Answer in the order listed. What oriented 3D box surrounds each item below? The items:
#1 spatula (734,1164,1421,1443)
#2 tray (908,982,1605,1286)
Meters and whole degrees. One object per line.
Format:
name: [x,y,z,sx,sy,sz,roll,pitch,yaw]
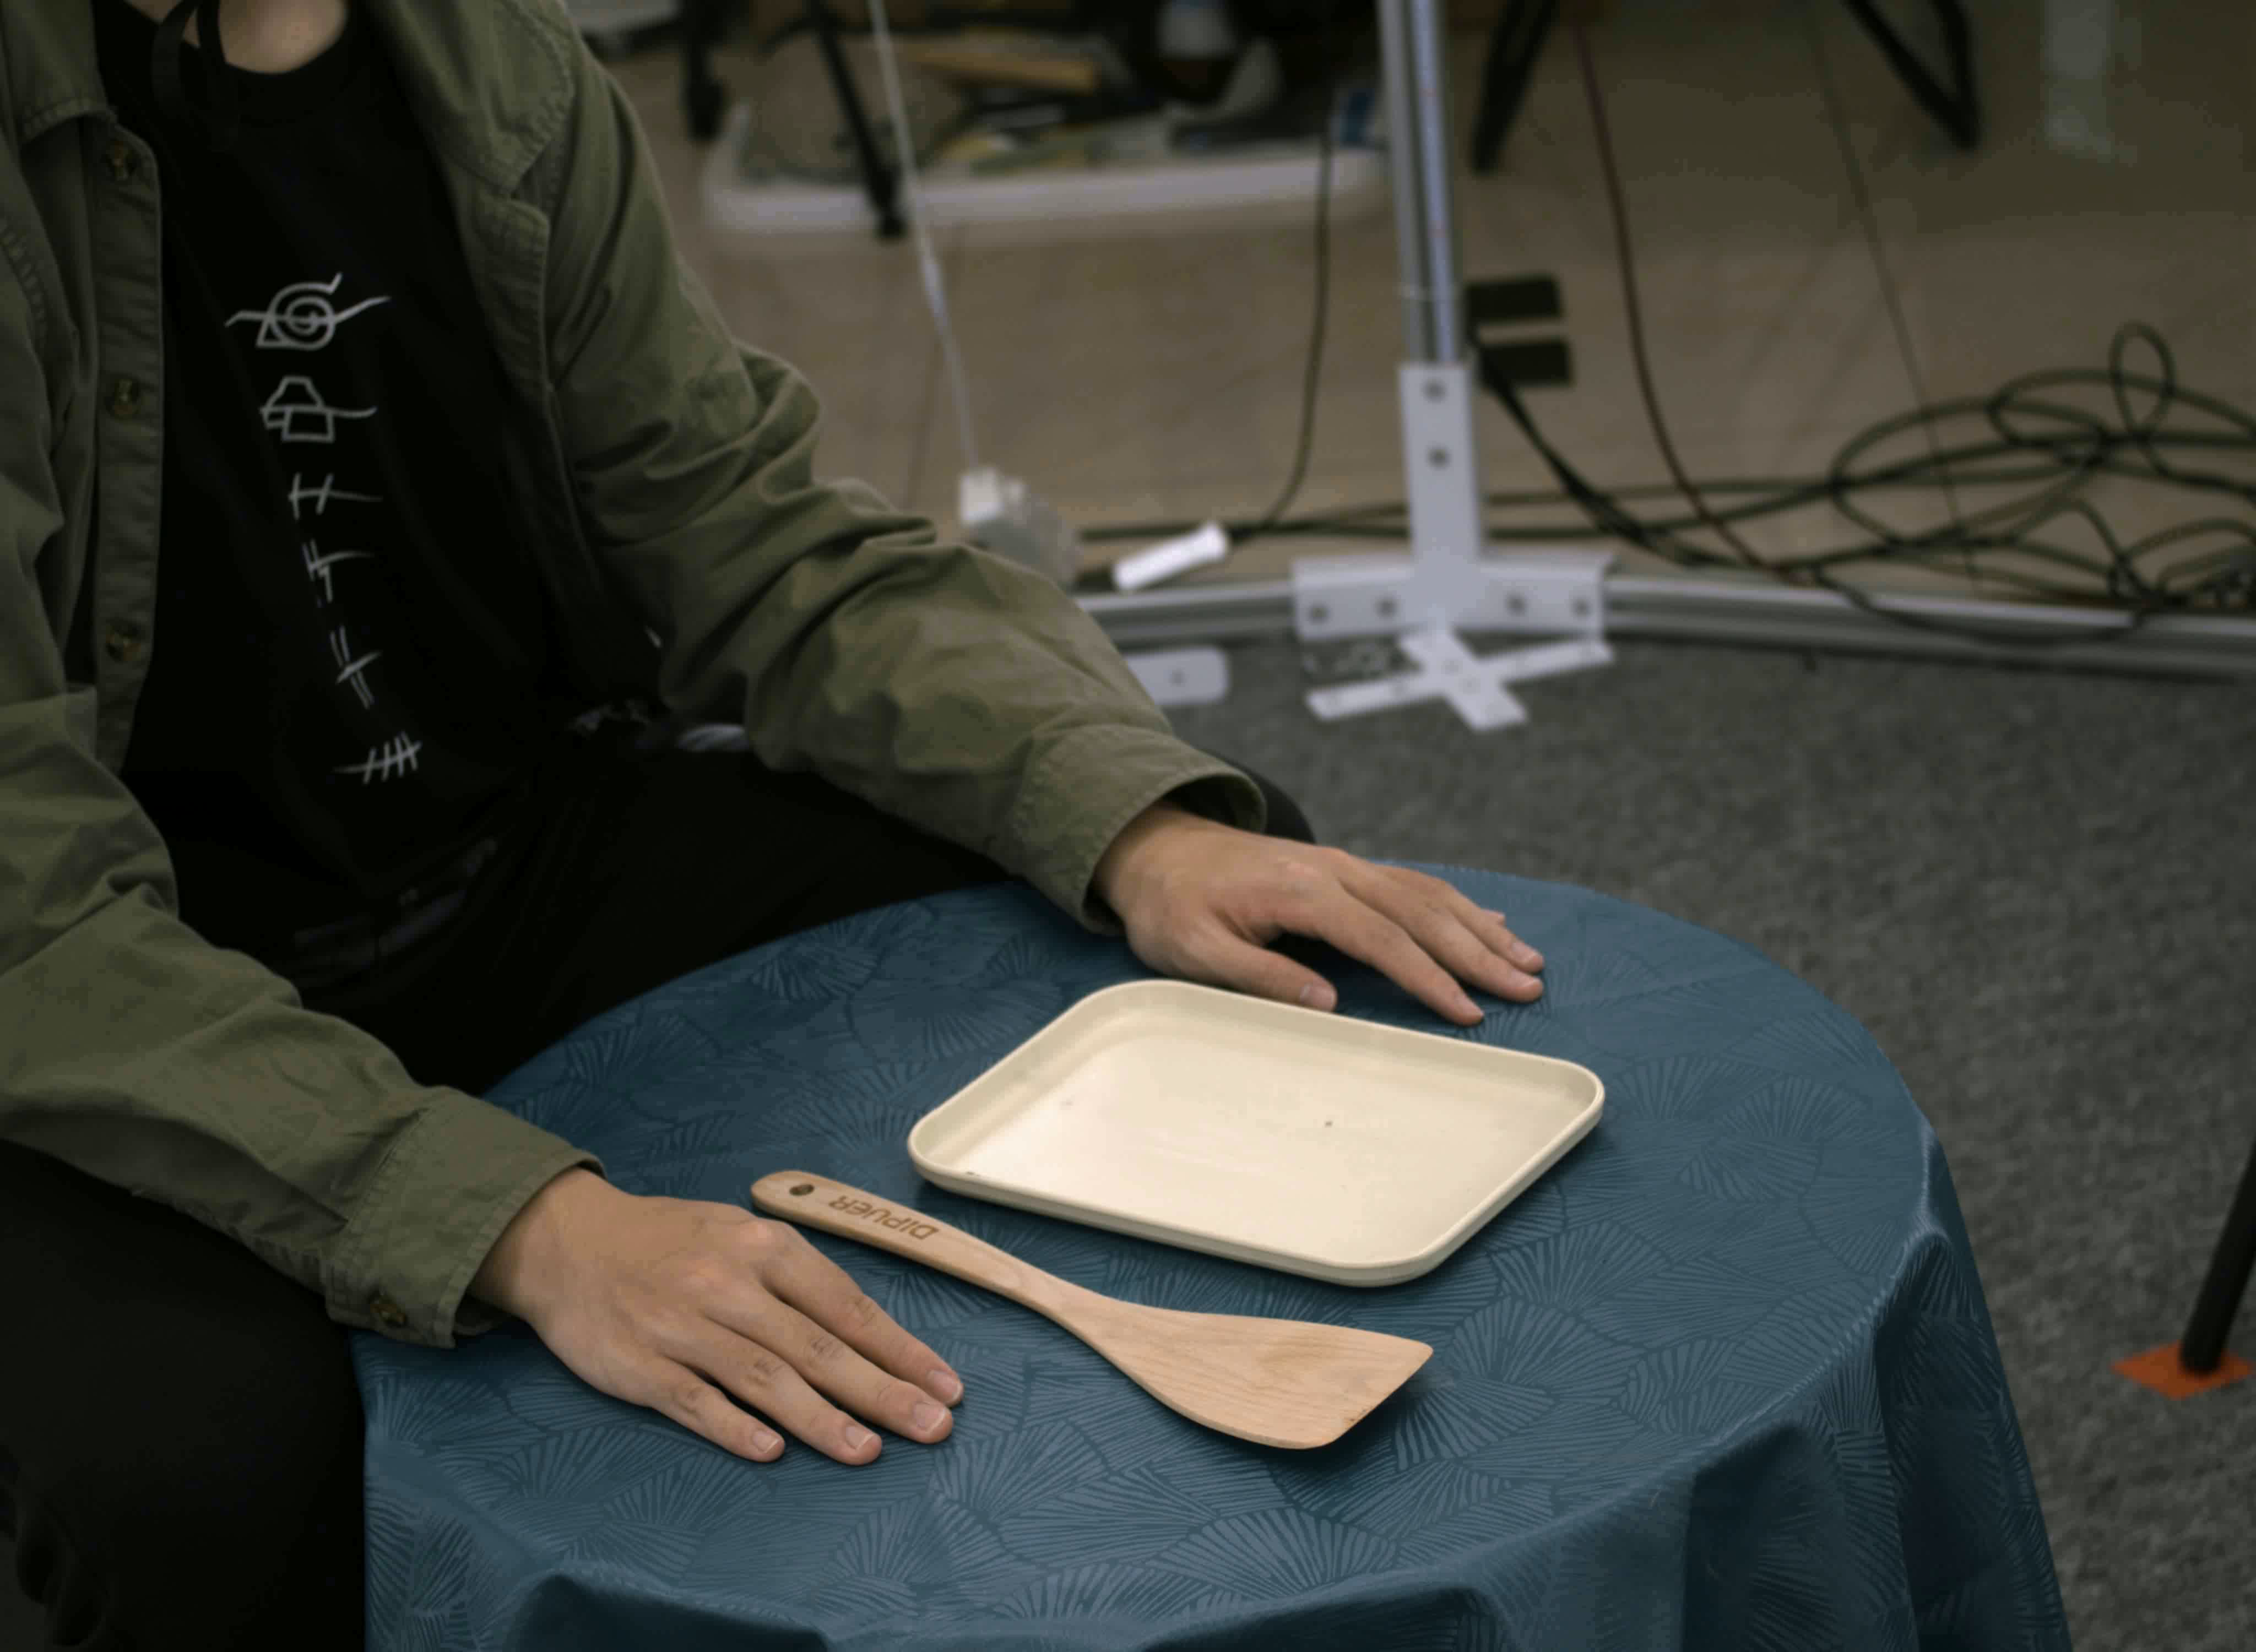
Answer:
spatula: [-0.029,0.167,2.080,0.325,0.017,0.079,17,34,40]
tray: [0.049,0.117,2.166,0.238,0.018,0.169,11,30,33]
